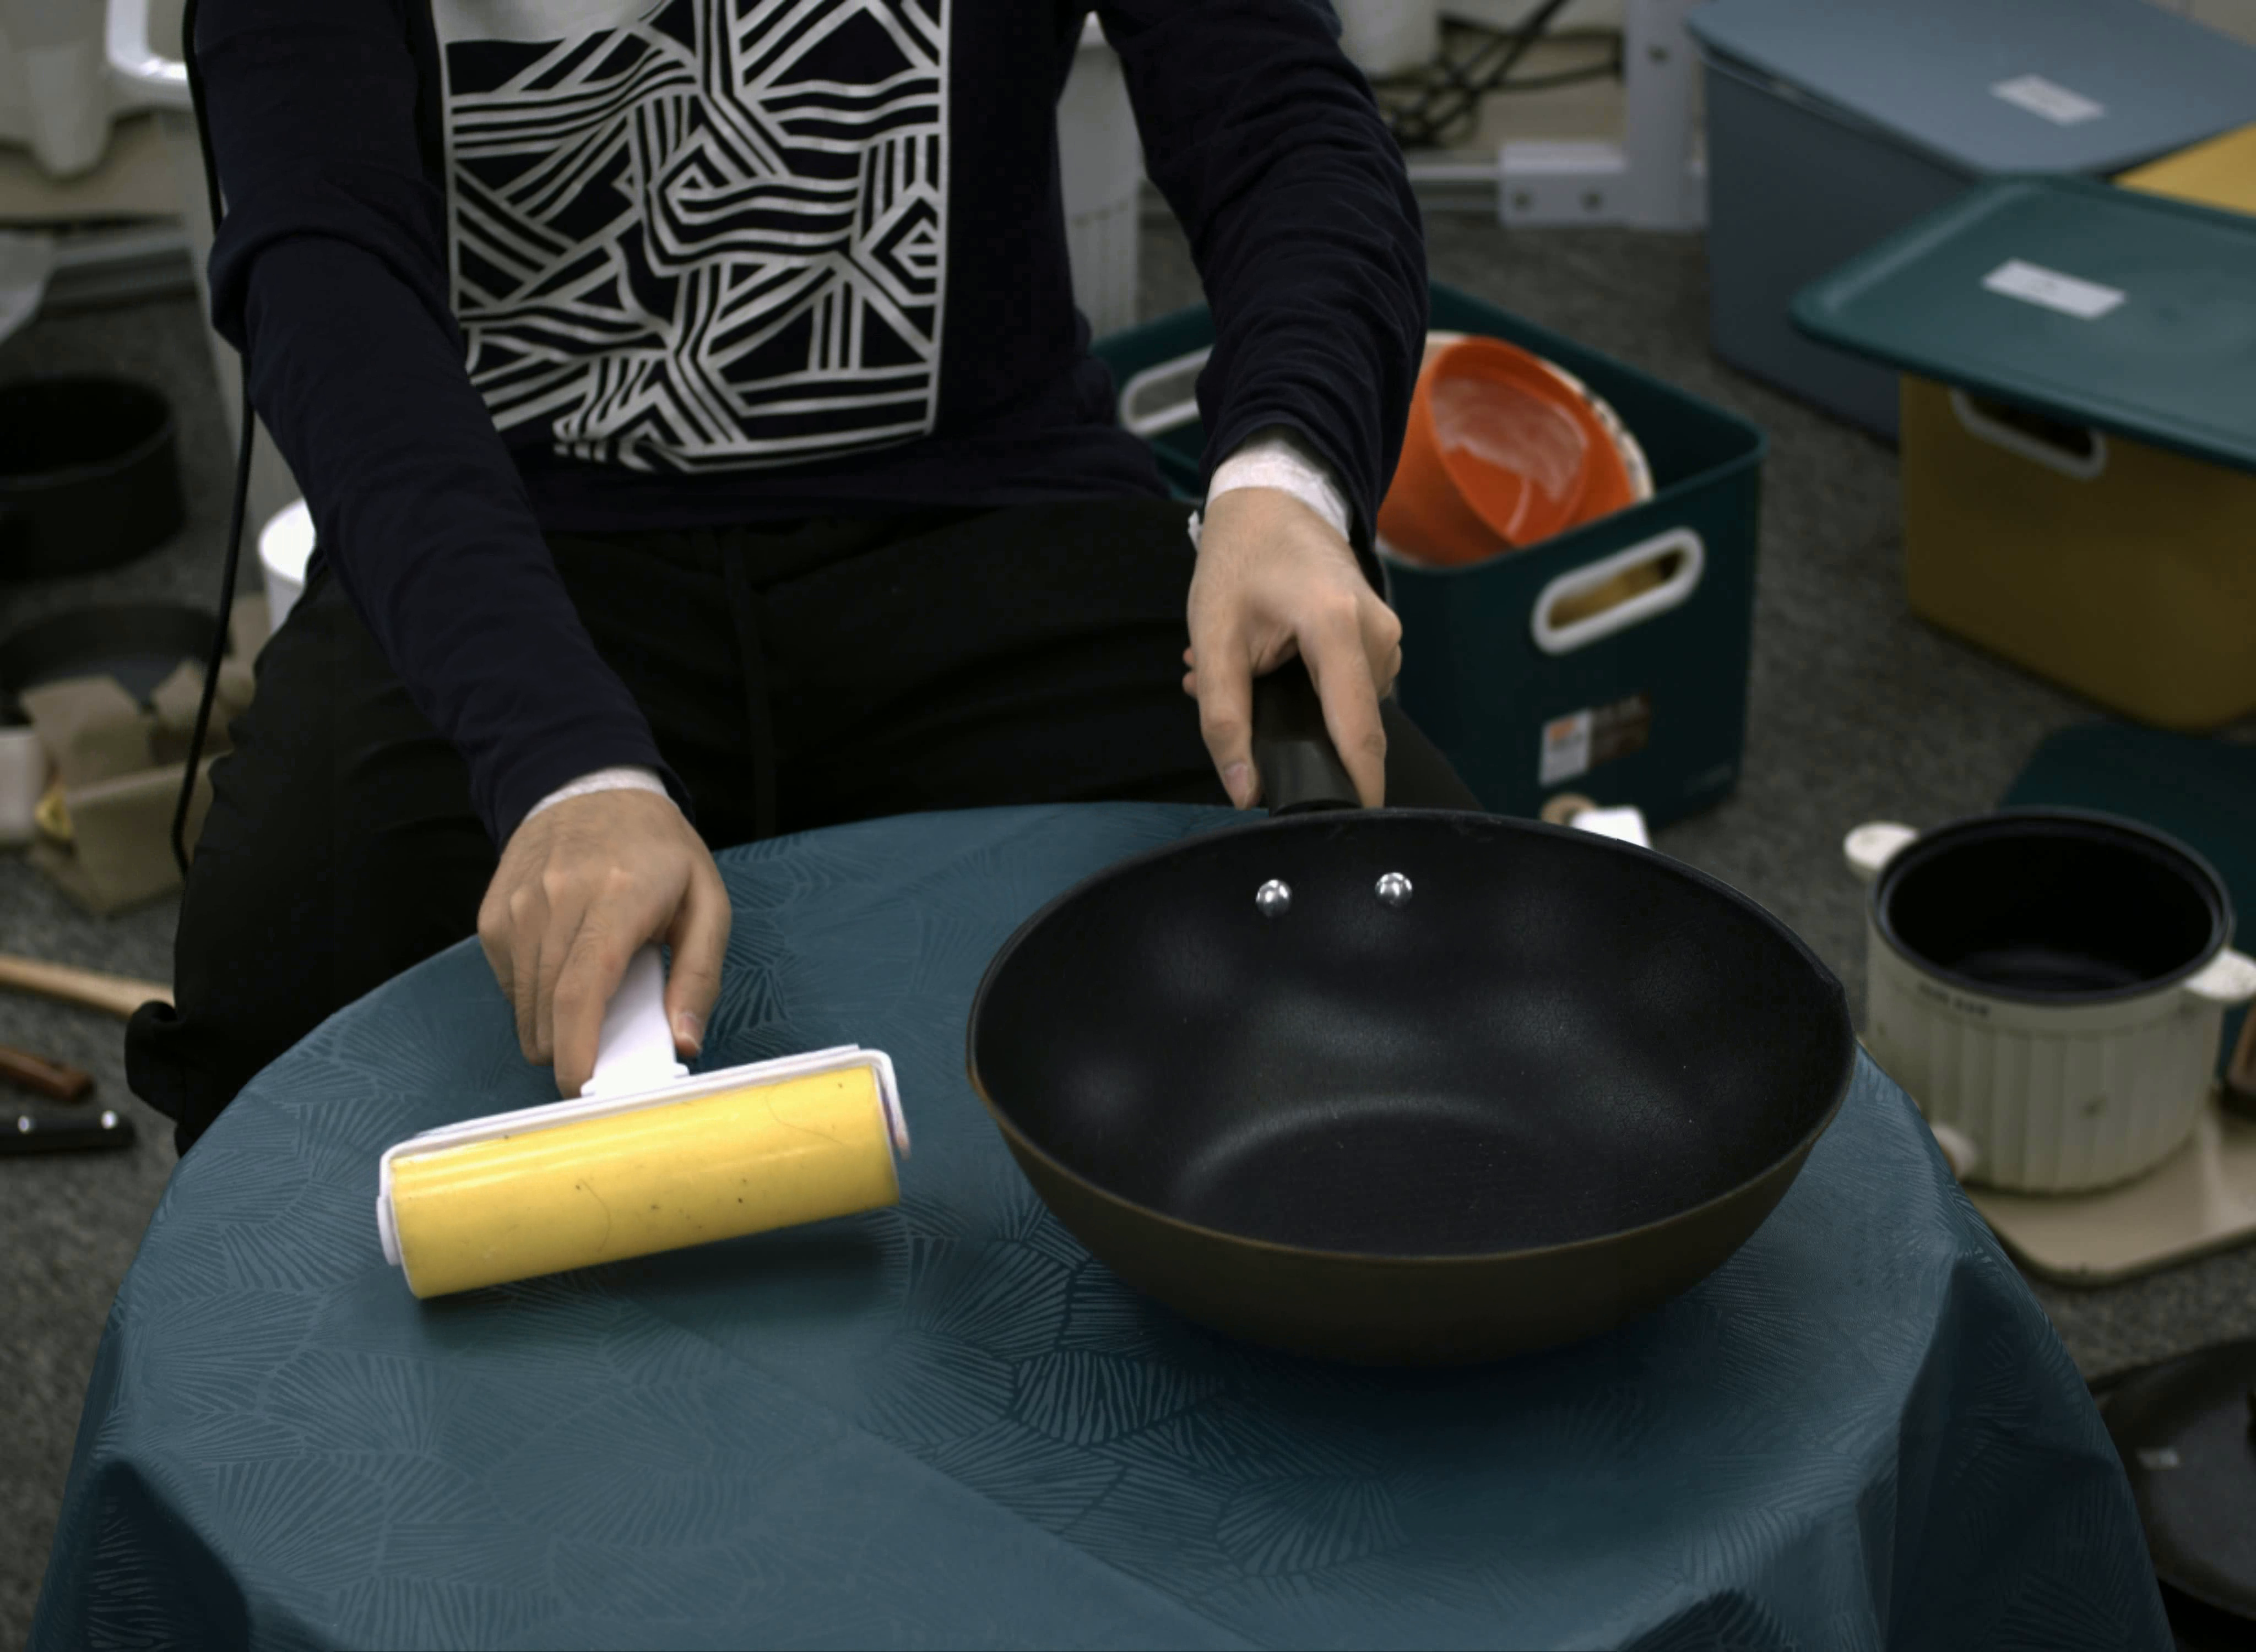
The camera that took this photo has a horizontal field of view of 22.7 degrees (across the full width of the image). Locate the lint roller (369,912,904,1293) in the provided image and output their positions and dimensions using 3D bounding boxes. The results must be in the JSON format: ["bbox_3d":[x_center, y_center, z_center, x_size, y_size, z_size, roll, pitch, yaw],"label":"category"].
[{"bbox_3d":[-0.171,0.073,1.877,0.174,0.051,0.195,-12,36,-4],"label":"lint roller"}]

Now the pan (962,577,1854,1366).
[{"bbox_3d":[0.073,0.050,1.886,0.287,0.086,0.469,-3,29,-10],"label":"pan"}]
